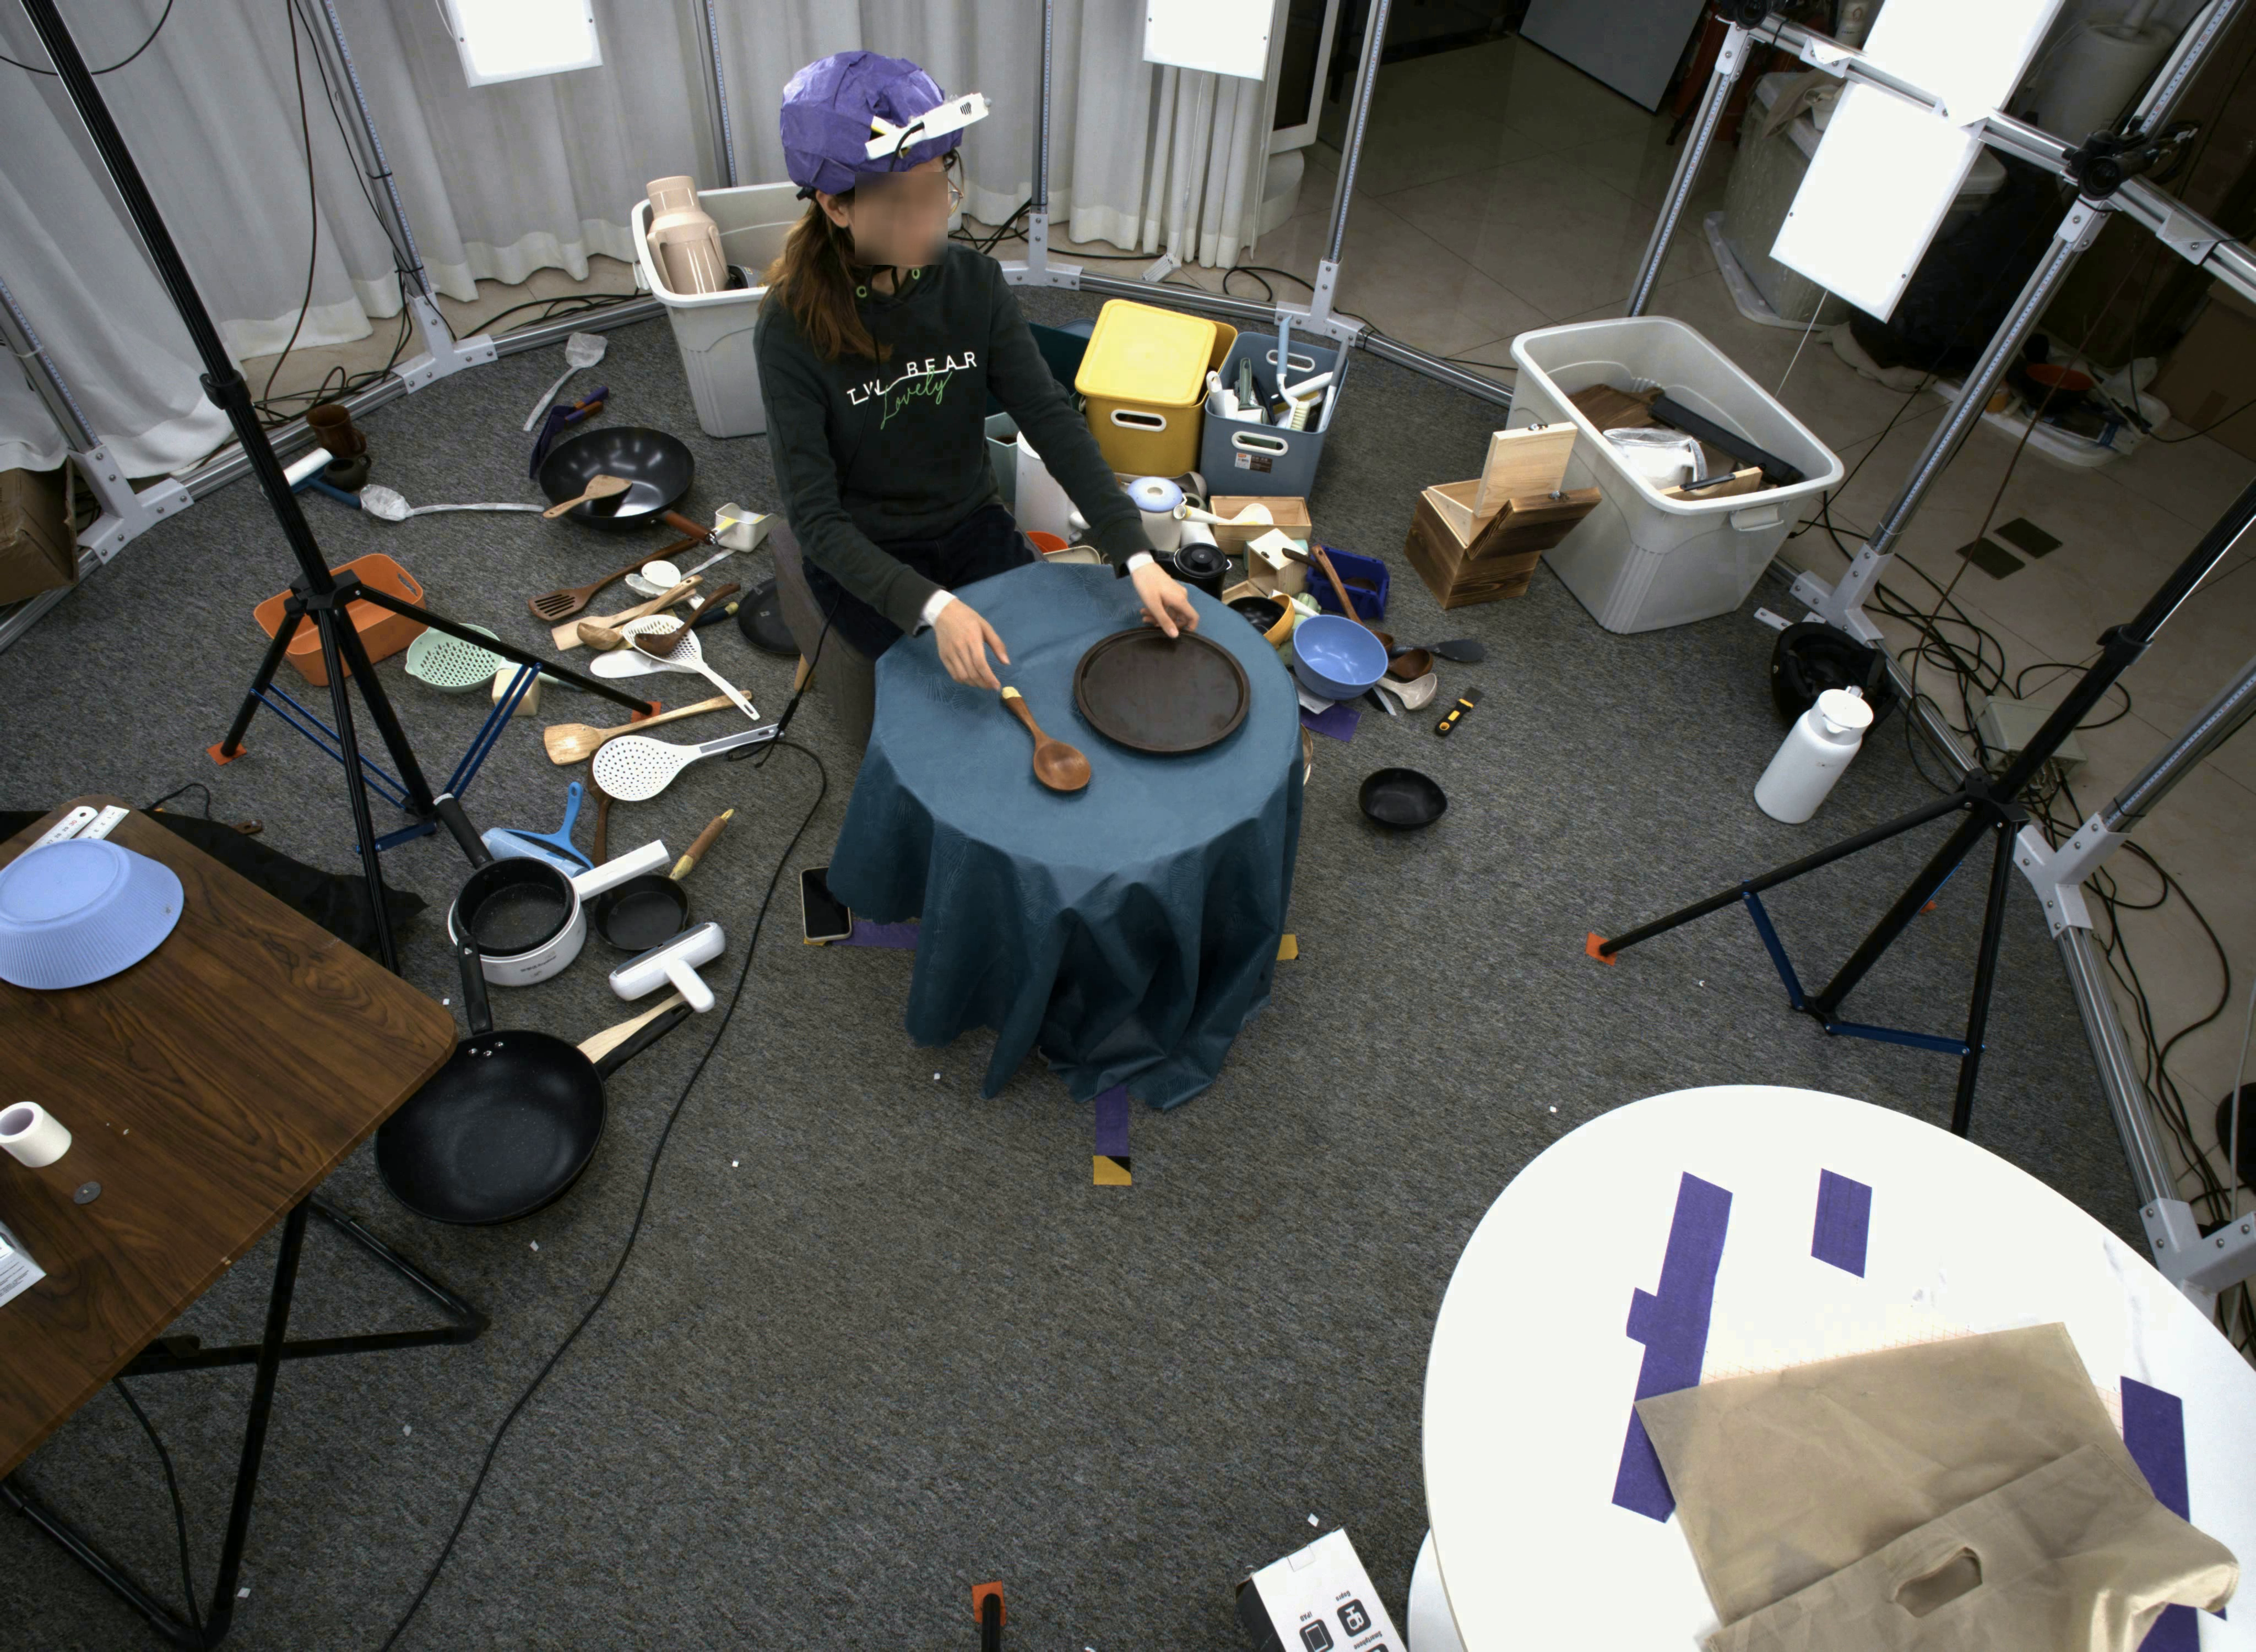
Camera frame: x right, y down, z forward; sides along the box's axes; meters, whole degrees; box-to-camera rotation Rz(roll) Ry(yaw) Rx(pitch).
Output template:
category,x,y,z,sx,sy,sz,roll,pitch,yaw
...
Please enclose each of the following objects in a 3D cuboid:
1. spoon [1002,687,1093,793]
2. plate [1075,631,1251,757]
category,x,y,z,sx,sy,sz,roll,pitch,yaw
spoon,-0.118,-0.120,1.769,0.075,0.017,0.220,-21,54,-21
plate,0.050,-0.191,1.840,0.254,0.028,0.261,3,49,-3
